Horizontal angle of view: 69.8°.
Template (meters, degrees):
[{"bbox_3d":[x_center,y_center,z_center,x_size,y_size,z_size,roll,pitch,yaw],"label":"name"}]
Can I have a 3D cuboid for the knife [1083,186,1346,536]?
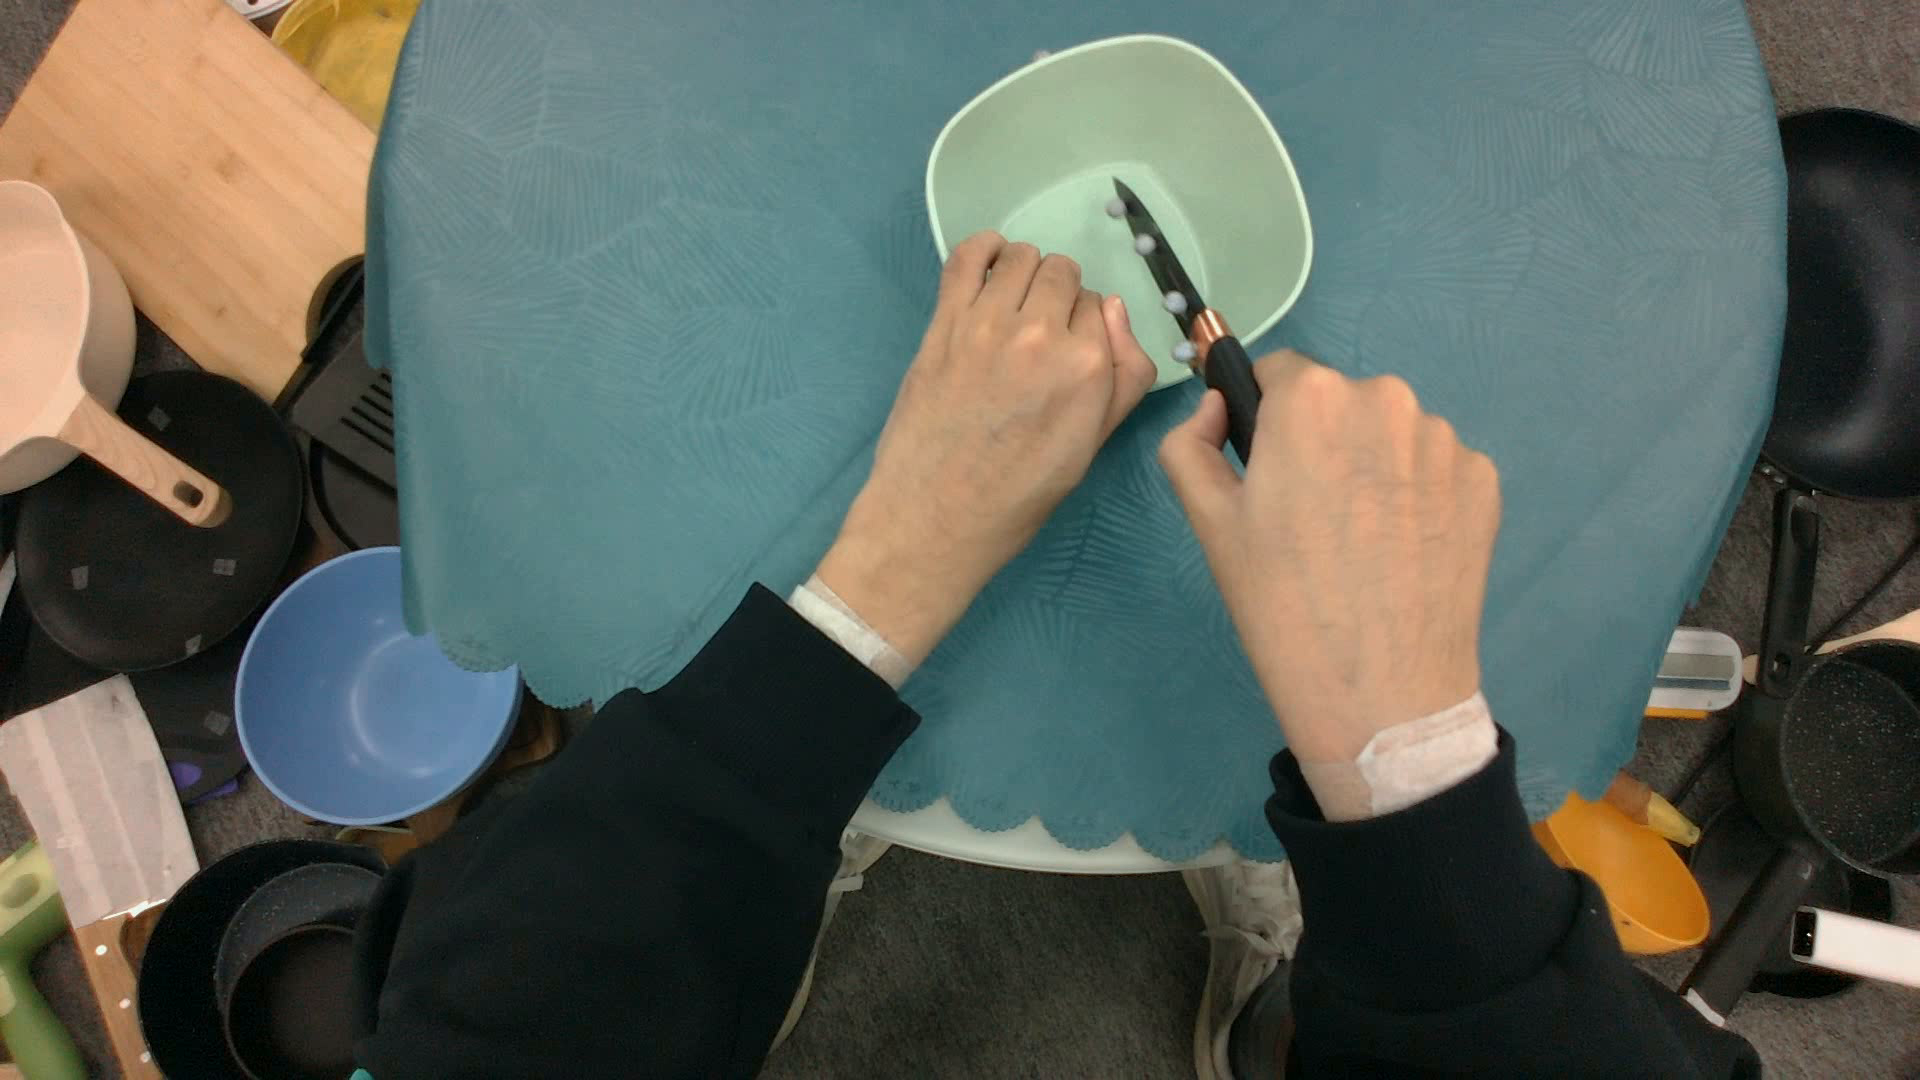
[{"bbox_3d":[0.083,-0.078,0.498,0.017,0.026,0.226,-11,44,-11],"label":"knife"}]

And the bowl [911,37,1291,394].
[{"bbox_3d":[0.053,-0.122,0.556,0.151,0.058,0.151,1,78,-3],"label":"bowl"}]
